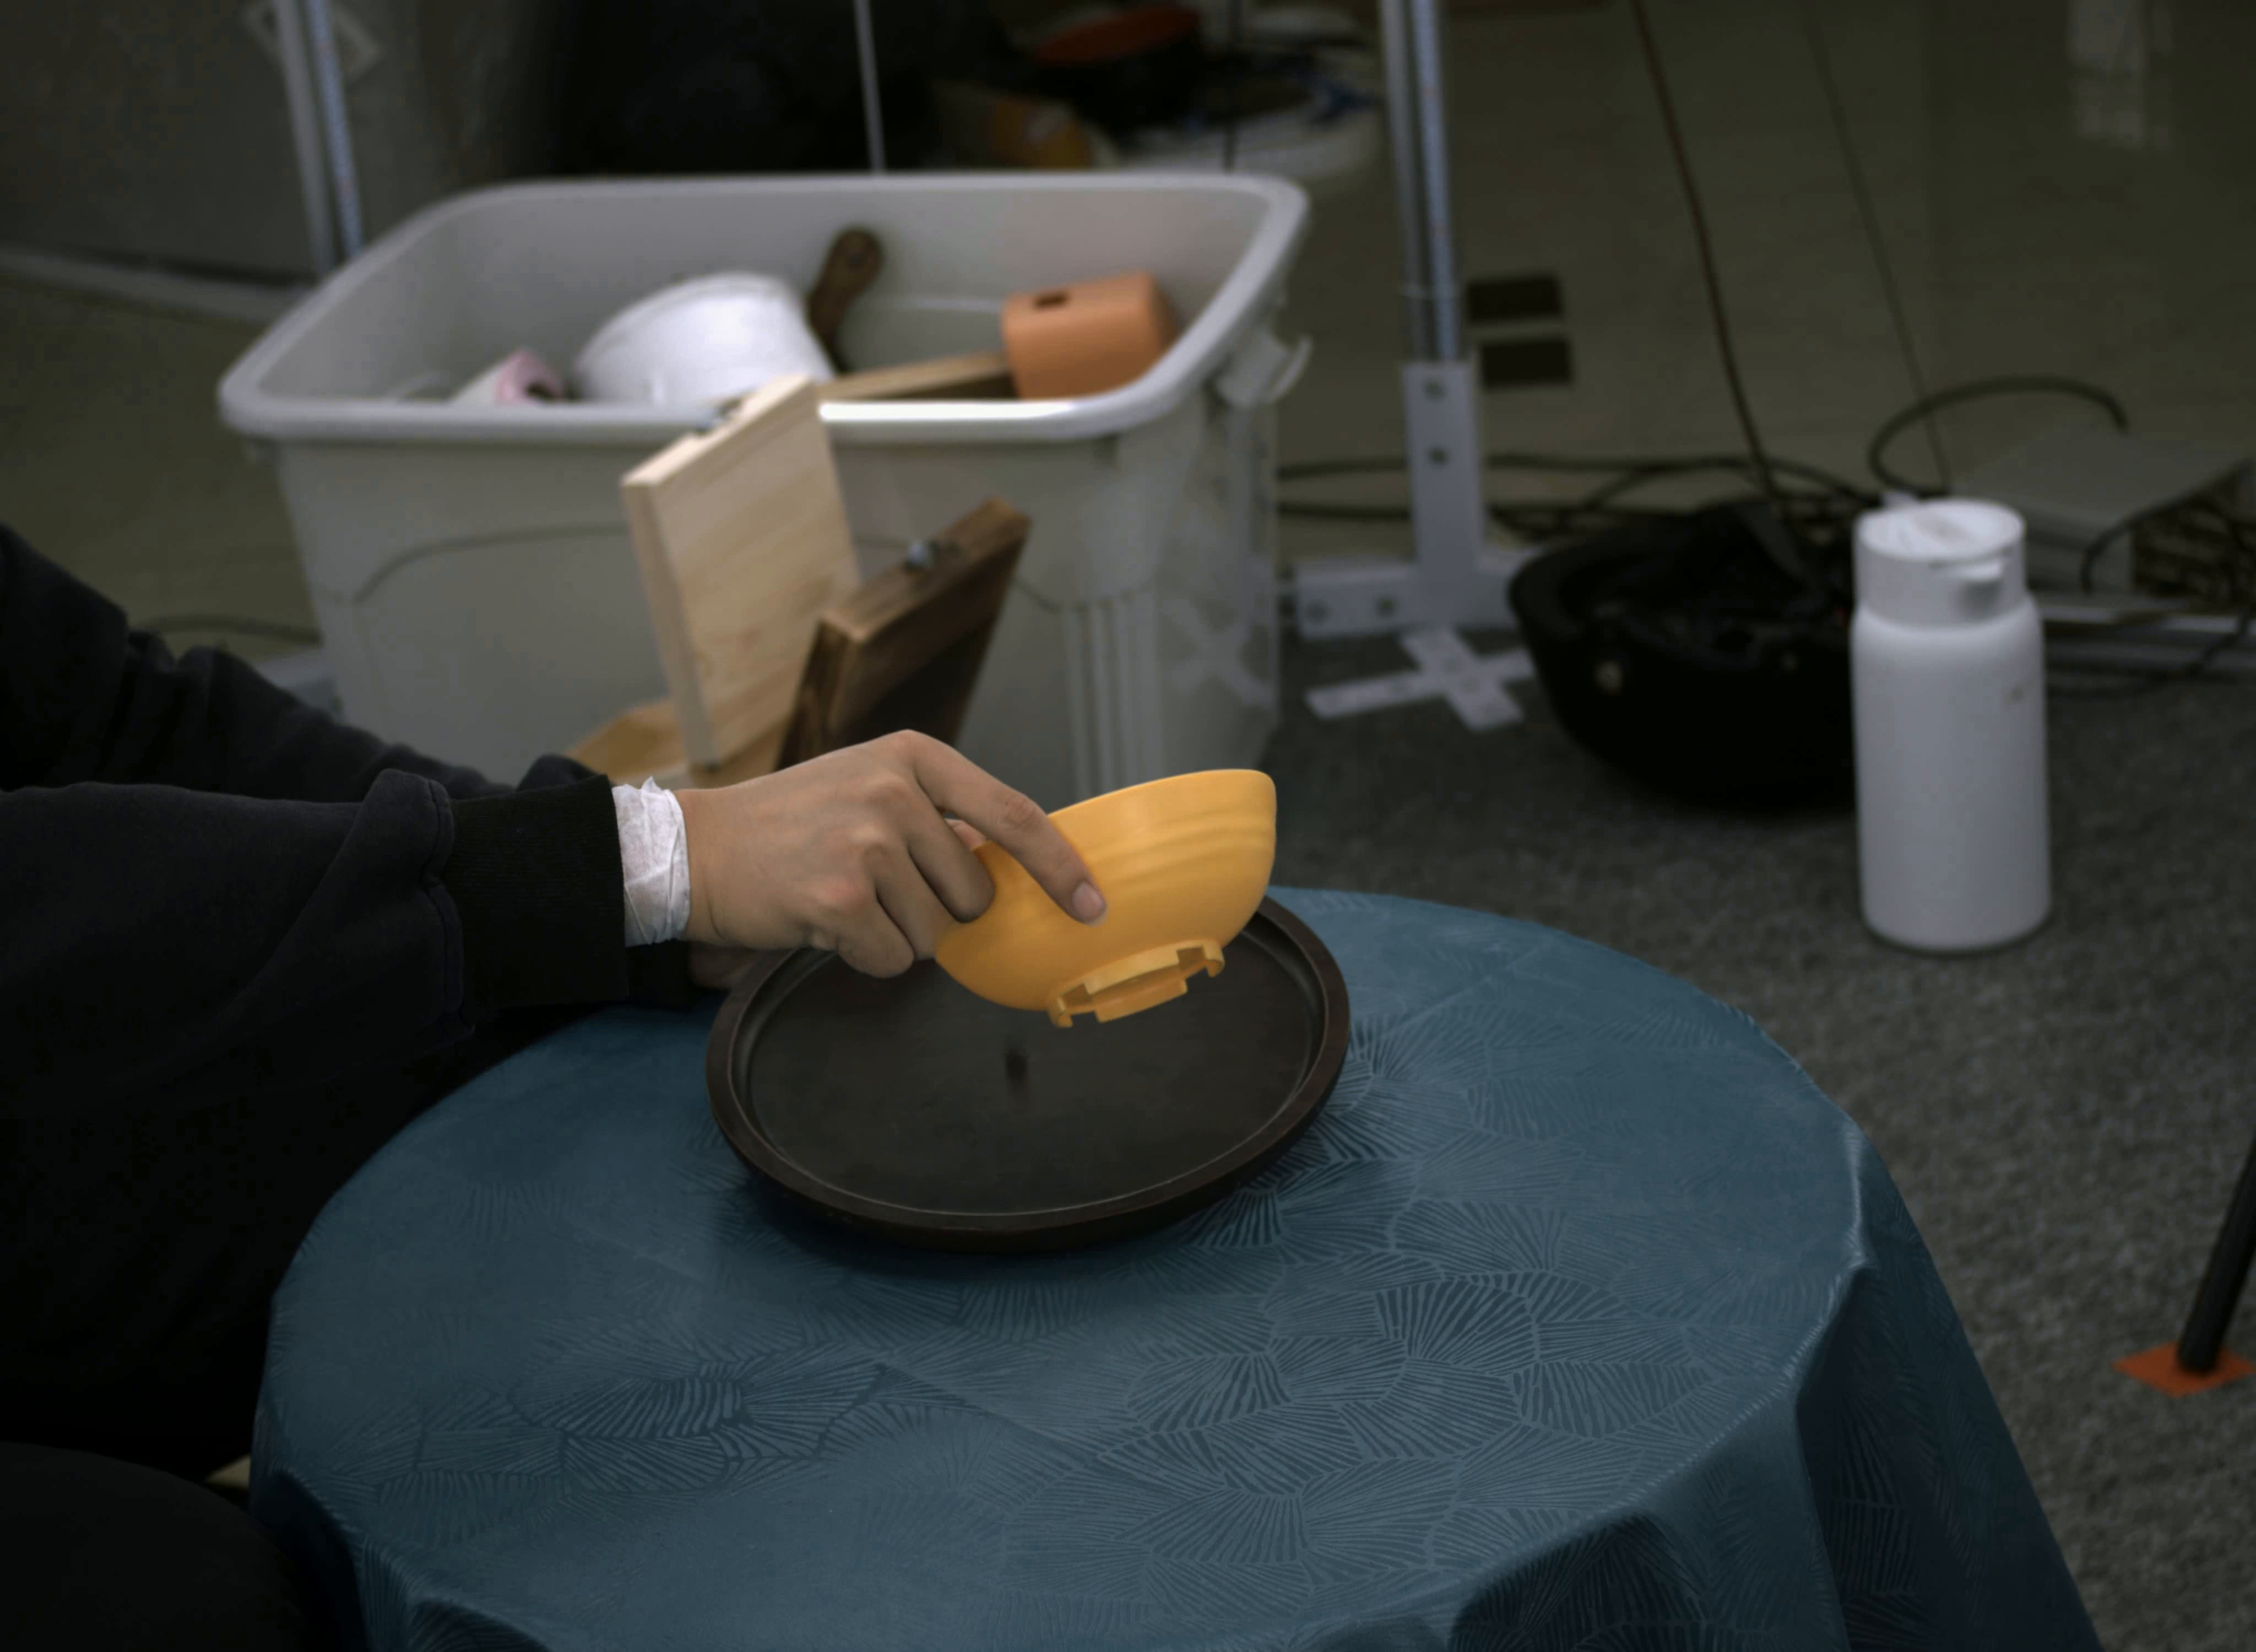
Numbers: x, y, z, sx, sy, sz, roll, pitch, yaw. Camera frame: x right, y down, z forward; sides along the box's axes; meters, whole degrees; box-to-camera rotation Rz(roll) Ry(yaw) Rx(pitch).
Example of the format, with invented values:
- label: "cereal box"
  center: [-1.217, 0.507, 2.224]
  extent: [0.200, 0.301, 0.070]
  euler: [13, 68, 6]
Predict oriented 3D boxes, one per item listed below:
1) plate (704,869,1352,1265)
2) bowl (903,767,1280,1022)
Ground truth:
- label: "plate"
  center: [-0.038, 0.089, 2.204]
  extent: [0.254, 0.029, 0.250]
  euler: [-5, 35, 3]
- label: "bowl"
  center: [-0.005, 0.033, 2.061]
  extent: [0.145, 0.060, 0.146]
  euler: [-17, -12, -4]
